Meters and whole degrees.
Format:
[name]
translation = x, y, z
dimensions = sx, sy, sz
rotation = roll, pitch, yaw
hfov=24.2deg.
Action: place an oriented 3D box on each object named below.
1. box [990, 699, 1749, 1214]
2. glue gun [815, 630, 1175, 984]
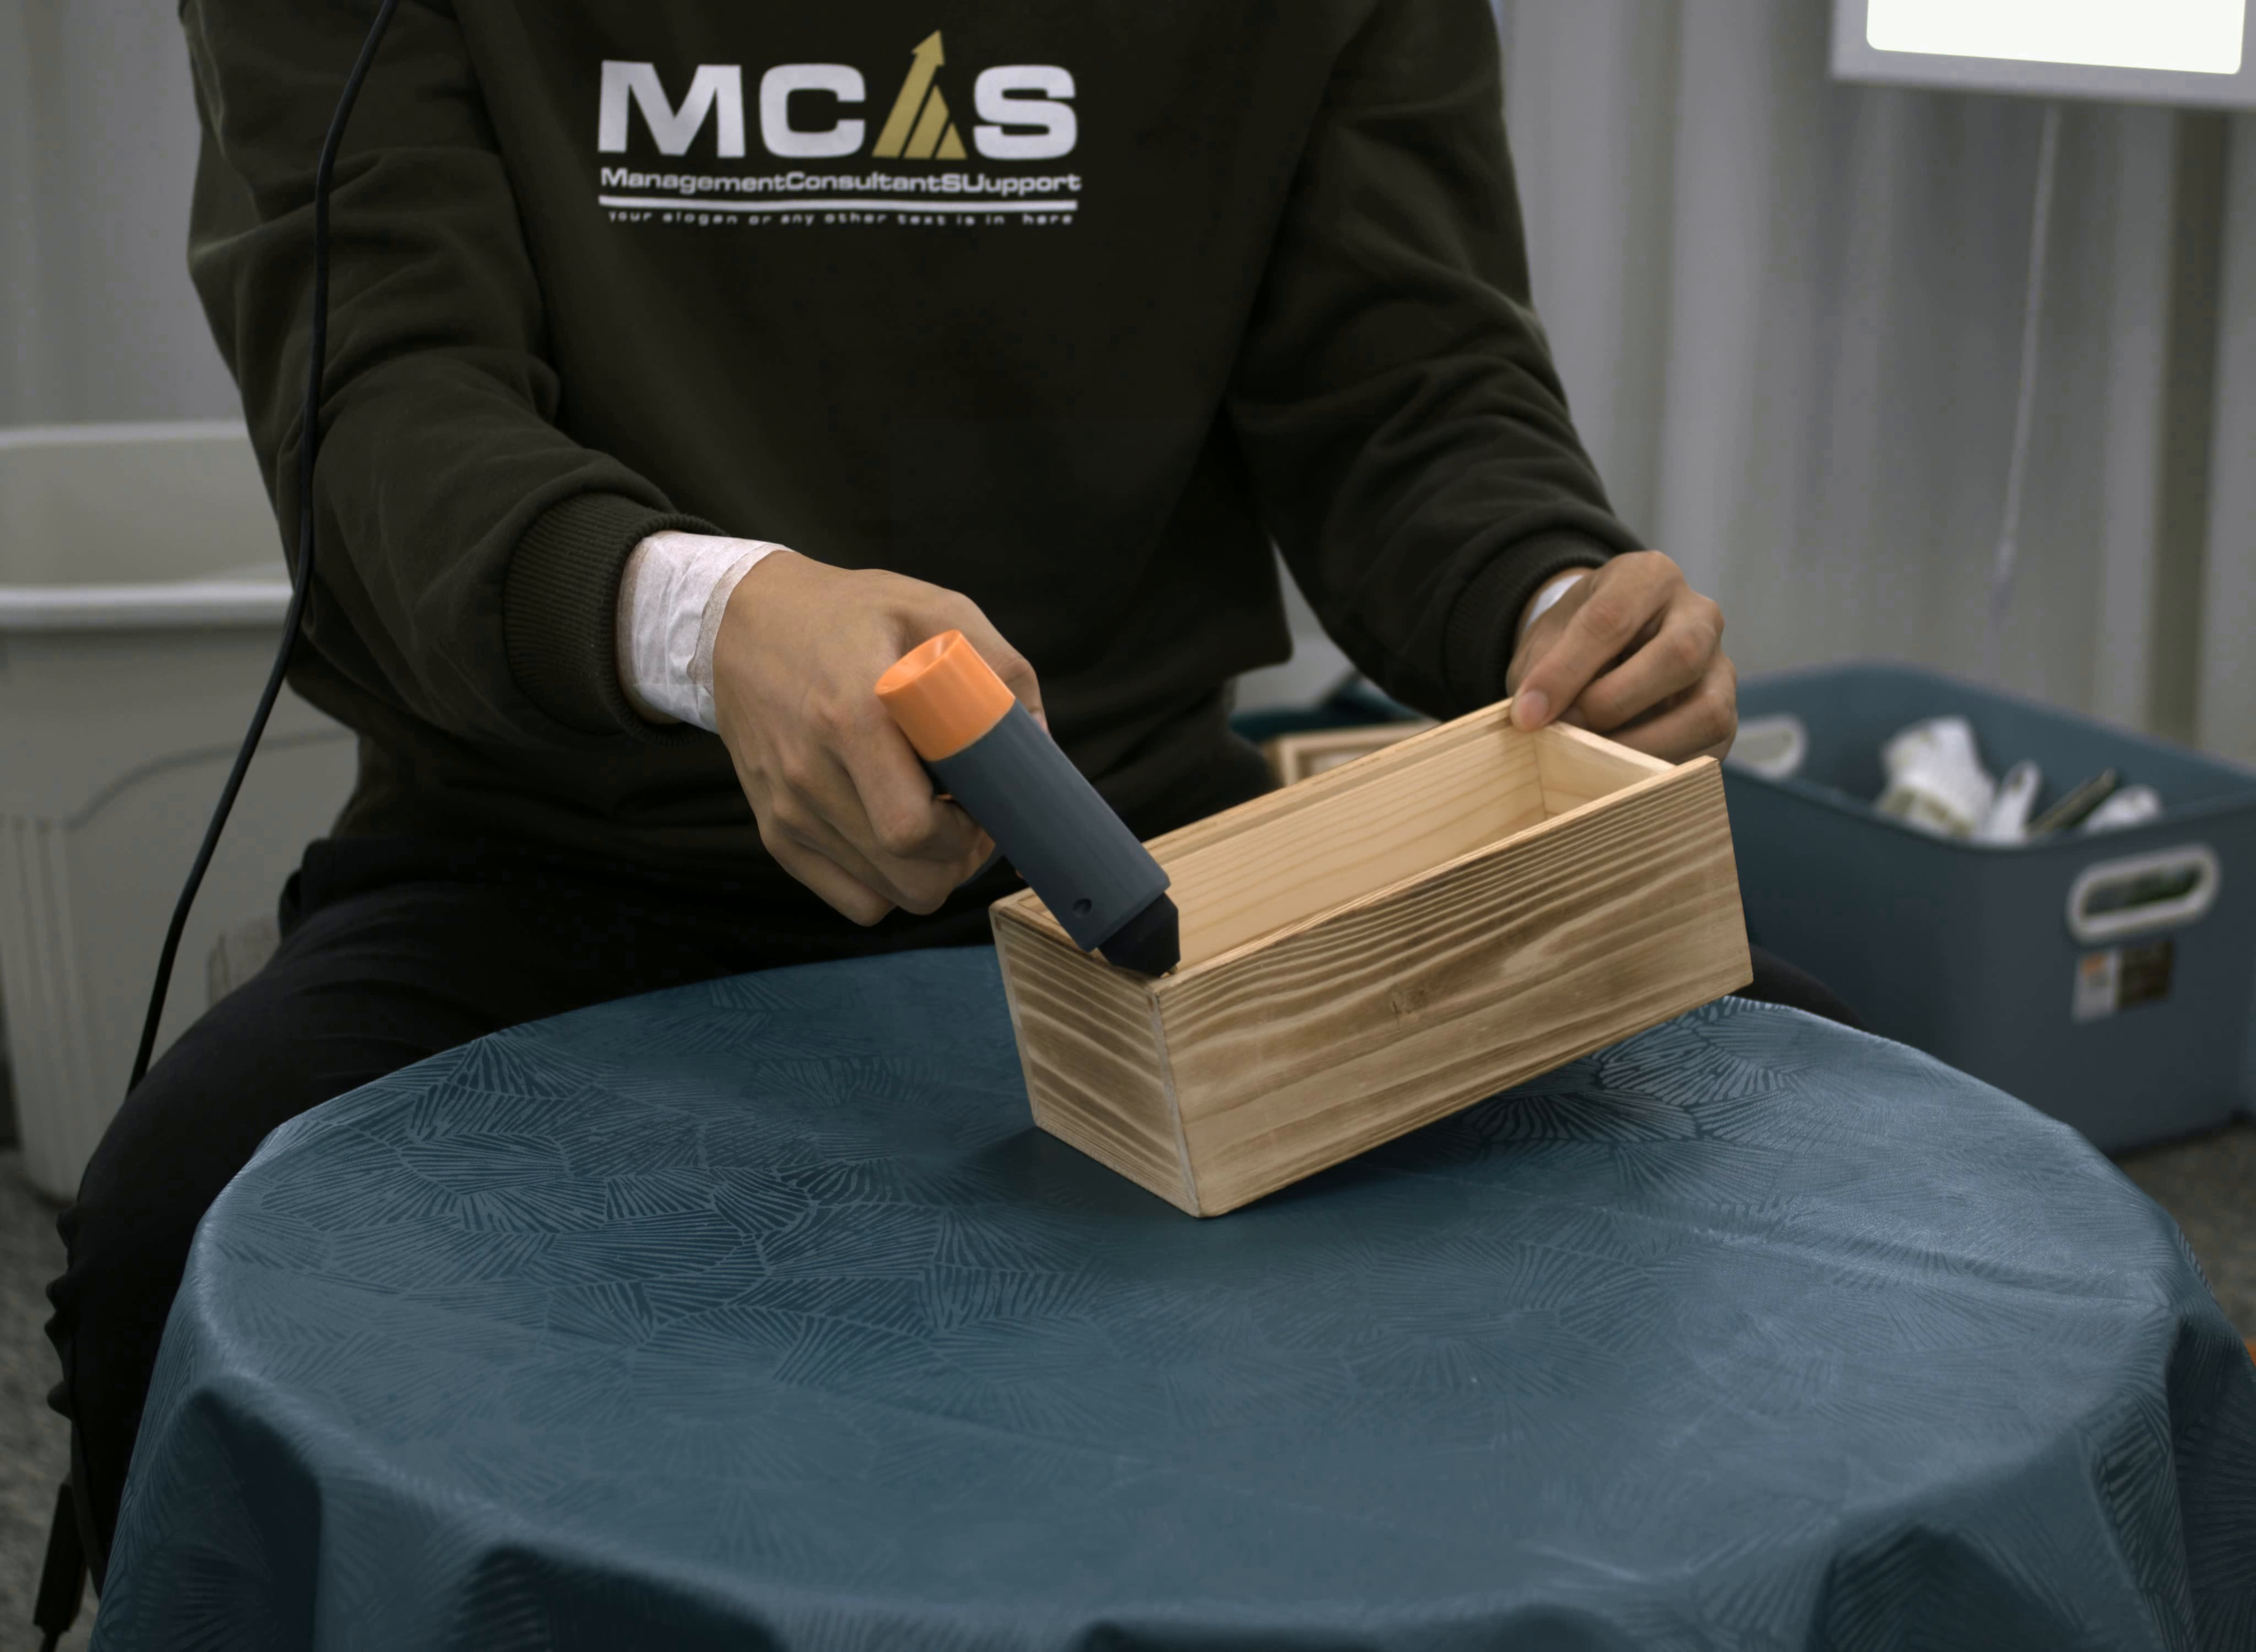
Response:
[box]
translation = 0.078, 0.038, 1.675
dimensions = 0.212, 0.081, 0.106
rotation = -21, 24, -25
[glue gun]
translation = -0.041, -0.005, 1.620
dimensions = 0.041, 0.119, 0.138
rotation = -38, 17, -15
